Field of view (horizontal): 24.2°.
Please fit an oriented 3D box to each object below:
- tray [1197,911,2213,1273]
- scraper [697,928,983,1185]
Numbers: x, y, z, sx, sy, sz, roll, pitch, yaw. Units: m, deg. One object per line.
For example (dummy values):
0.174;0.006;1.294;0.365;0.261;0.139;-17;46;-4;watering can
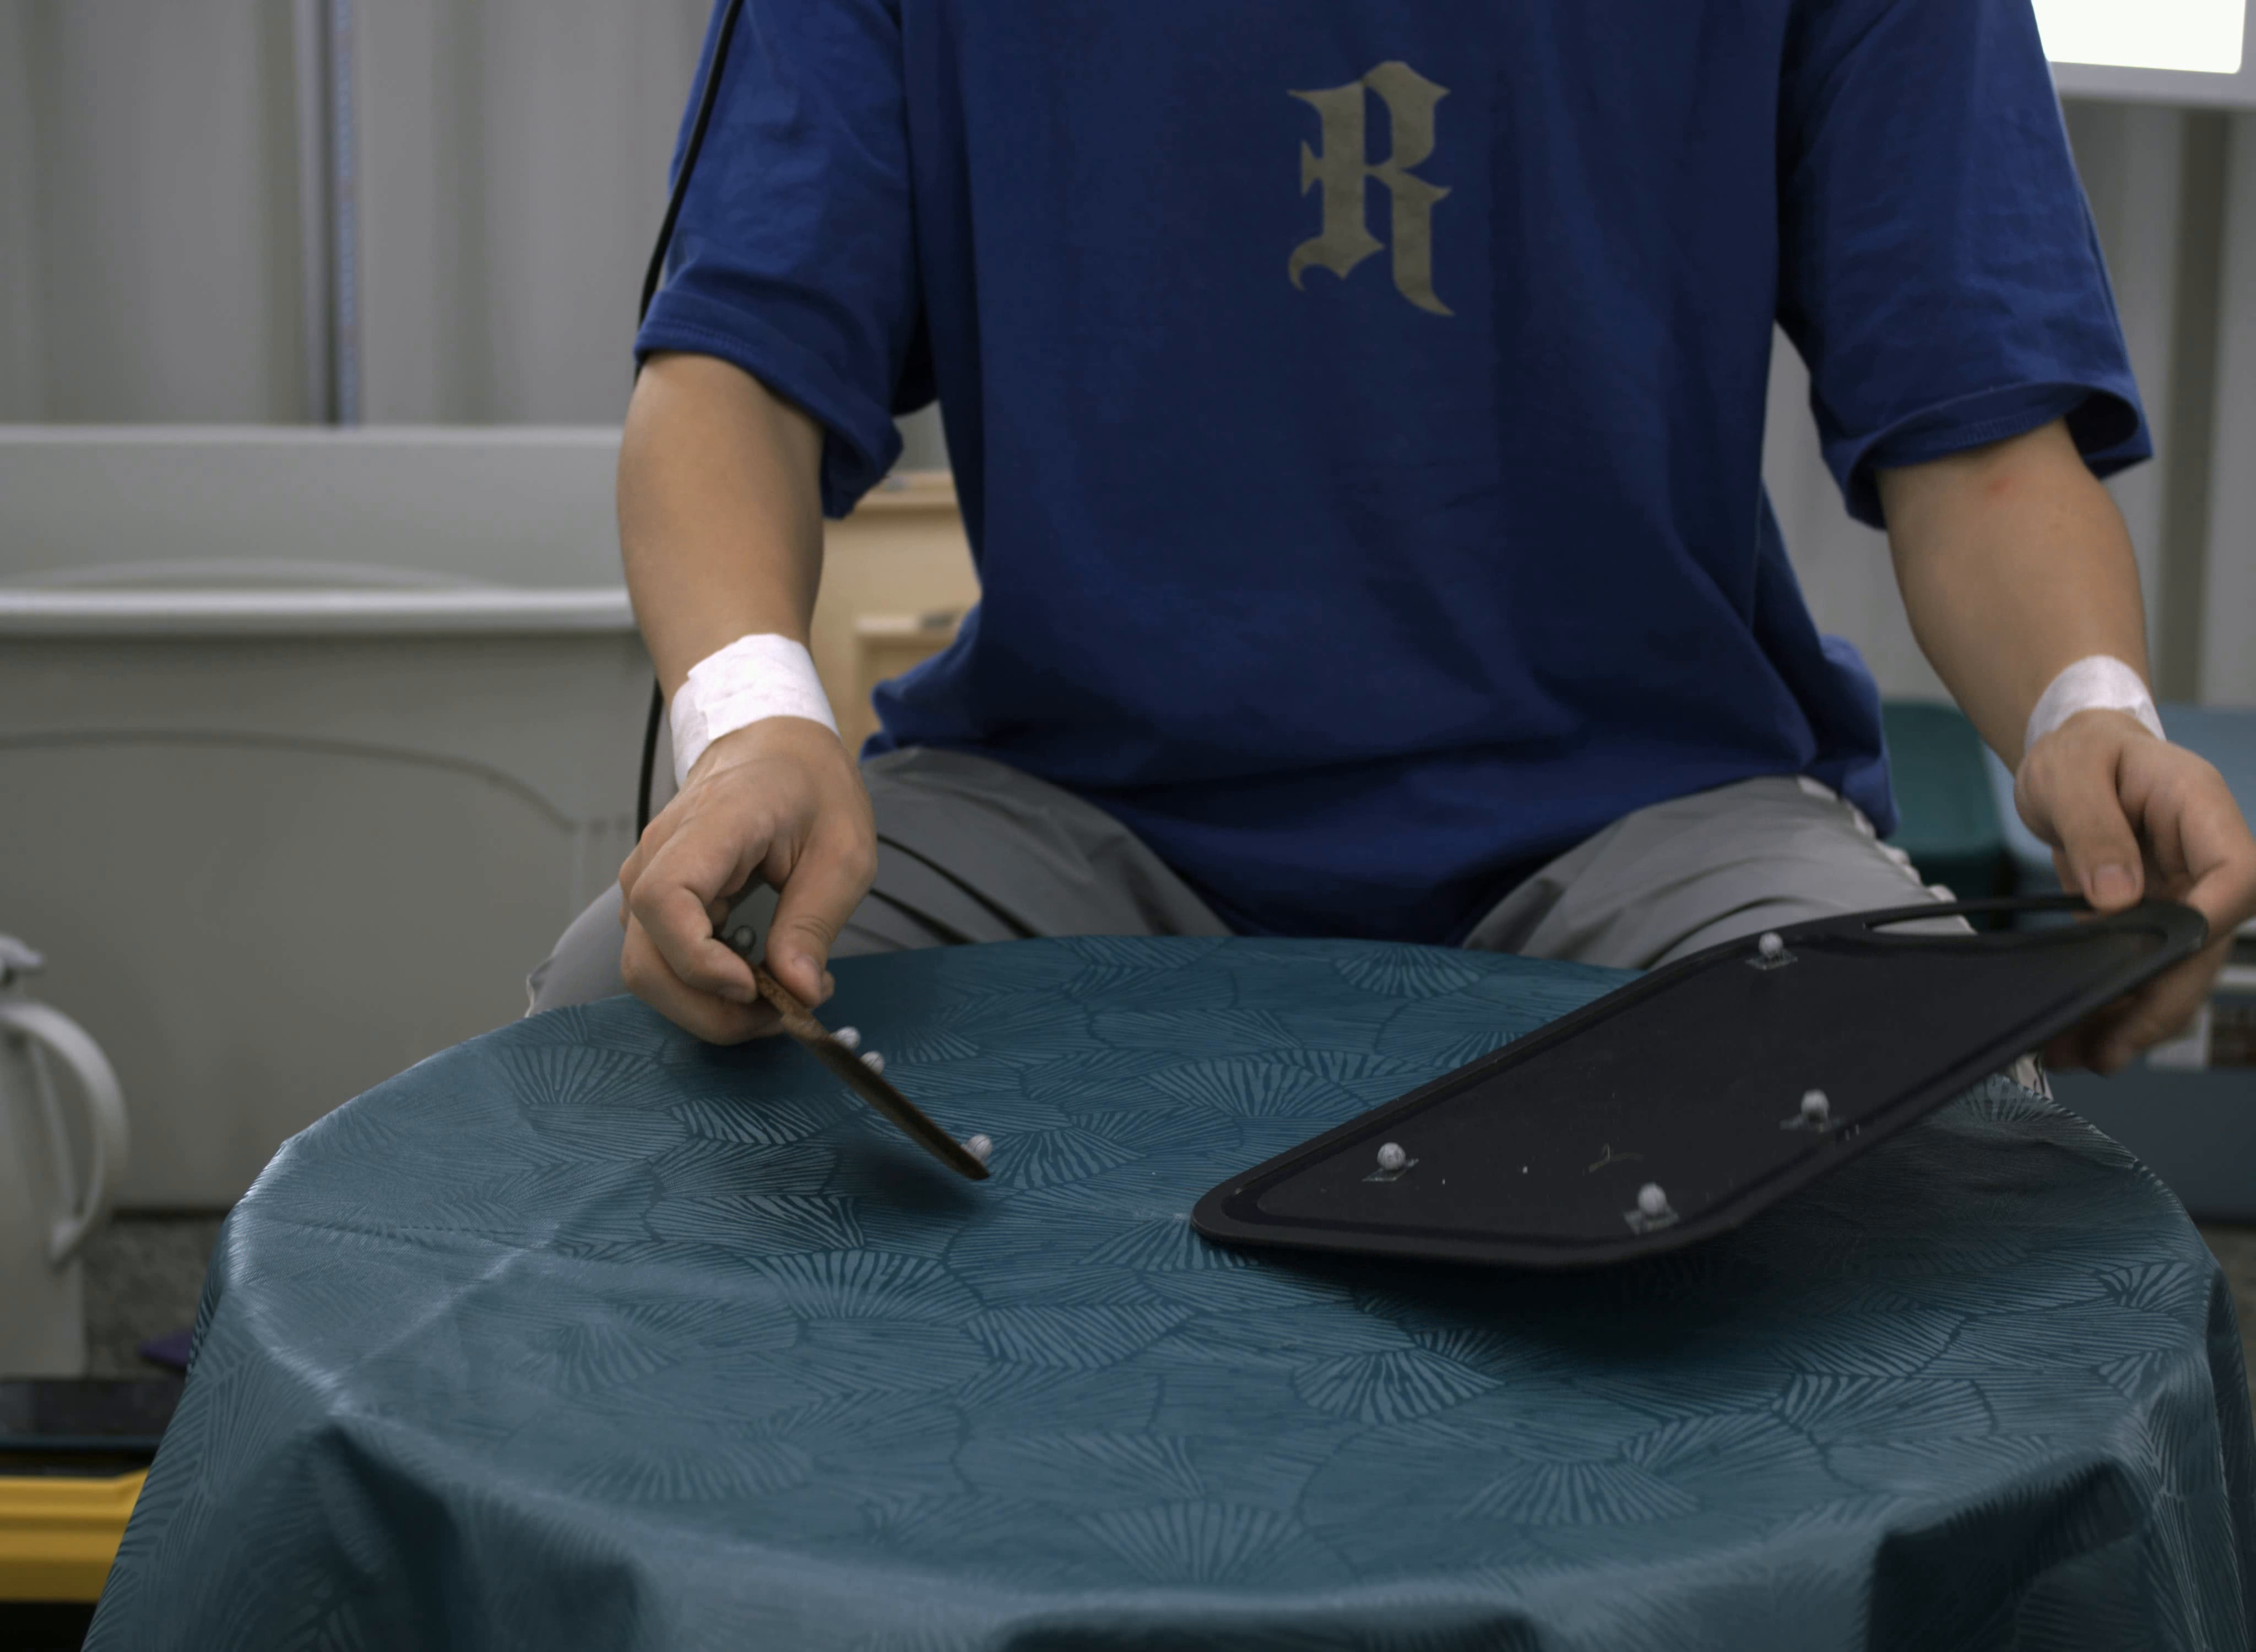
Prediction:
0.185;0.075;1.630;0.326;0.010;0.208;-23;16;-41;tray
-0.102;0.066;1.678;0.076;0.011;0.209;43;-3;-24;scraper
